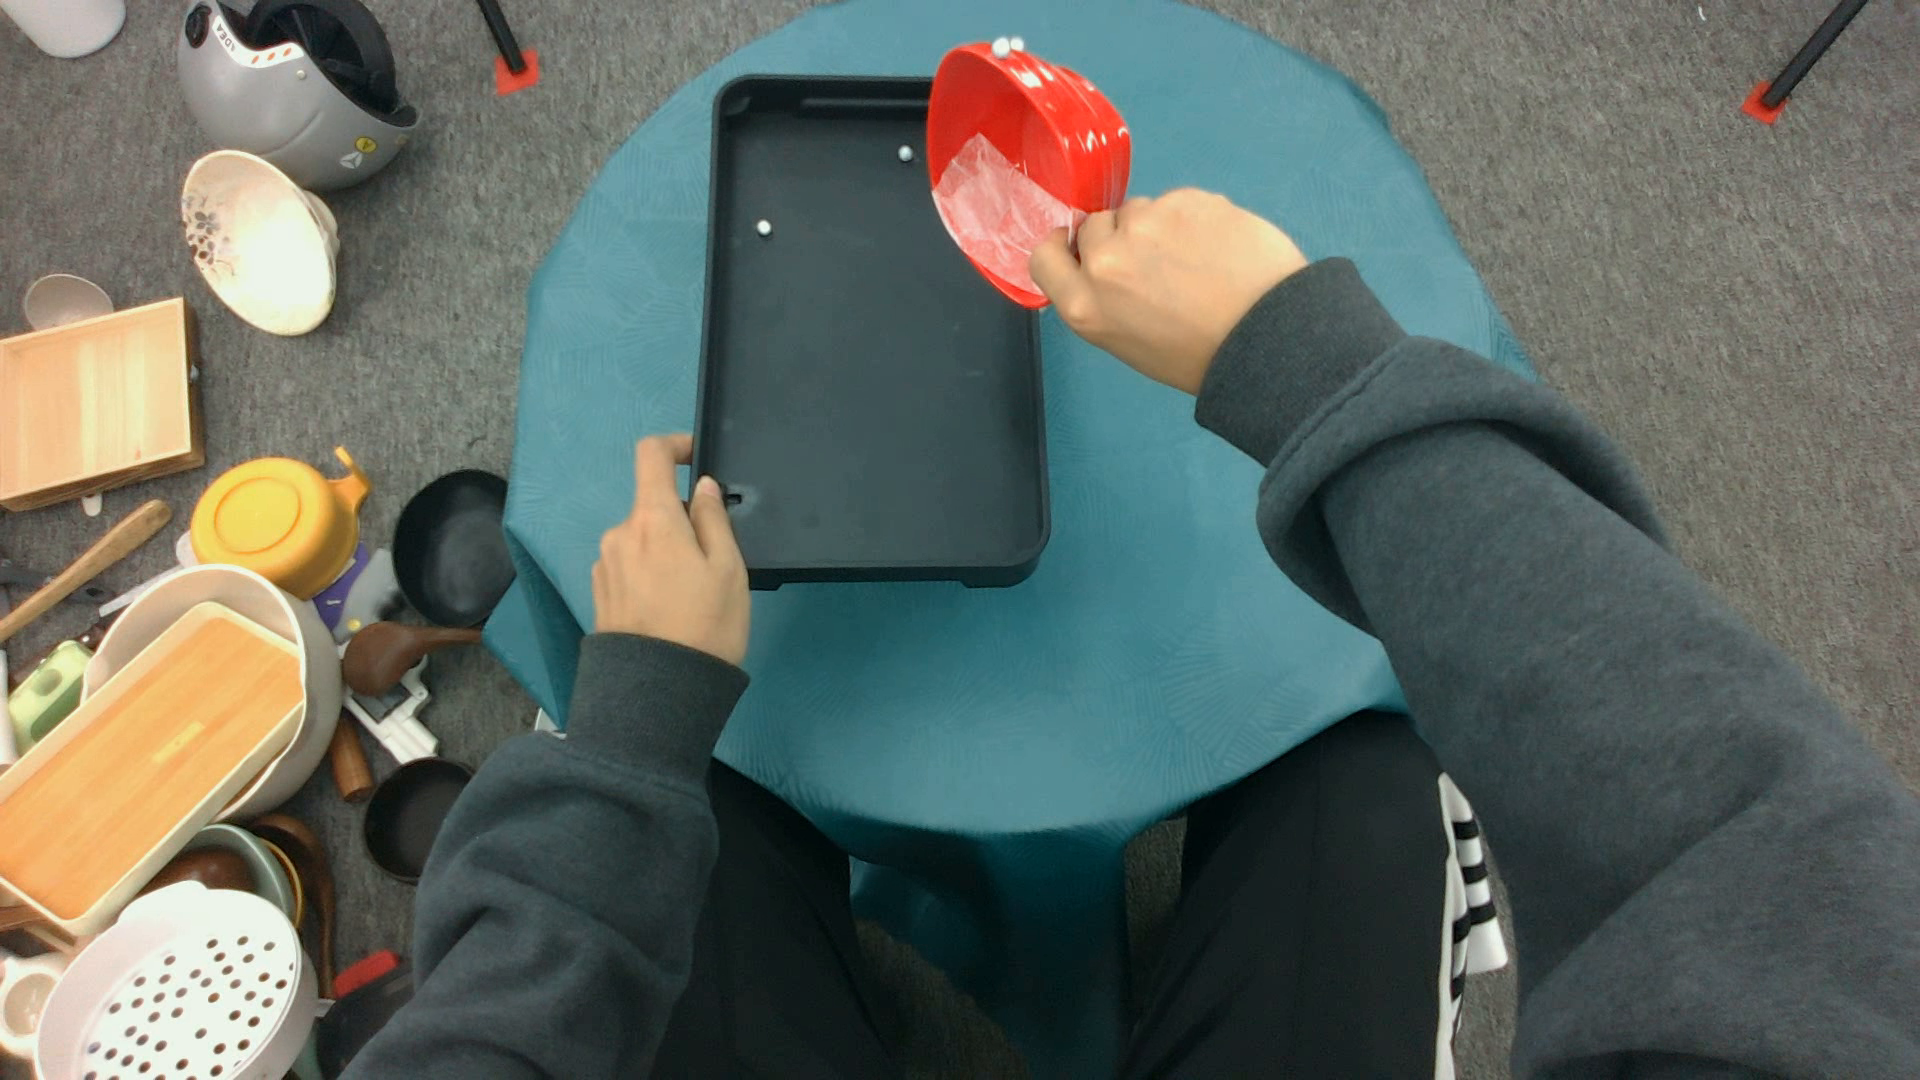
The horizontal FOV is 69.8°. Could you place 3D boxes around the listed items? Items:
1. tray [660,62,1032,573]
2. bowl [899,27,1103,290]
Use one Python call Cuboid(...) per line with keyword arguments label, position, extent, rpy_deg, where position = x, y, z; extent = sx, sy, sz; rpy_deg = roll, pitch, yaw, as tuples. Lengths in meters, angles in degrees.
Cuboid(label="tray", position=(-0.063, -0.132, 0.756), extent=(0.184, 0.037, 0.319), rpy_deg=(-1, 64, -4))
Cuboid(label="bowl", position=(0.024, -0.179, 0.631), extent=(0.051, 0.118, 0.119), rpy_deg=(-27, 68, -26))
